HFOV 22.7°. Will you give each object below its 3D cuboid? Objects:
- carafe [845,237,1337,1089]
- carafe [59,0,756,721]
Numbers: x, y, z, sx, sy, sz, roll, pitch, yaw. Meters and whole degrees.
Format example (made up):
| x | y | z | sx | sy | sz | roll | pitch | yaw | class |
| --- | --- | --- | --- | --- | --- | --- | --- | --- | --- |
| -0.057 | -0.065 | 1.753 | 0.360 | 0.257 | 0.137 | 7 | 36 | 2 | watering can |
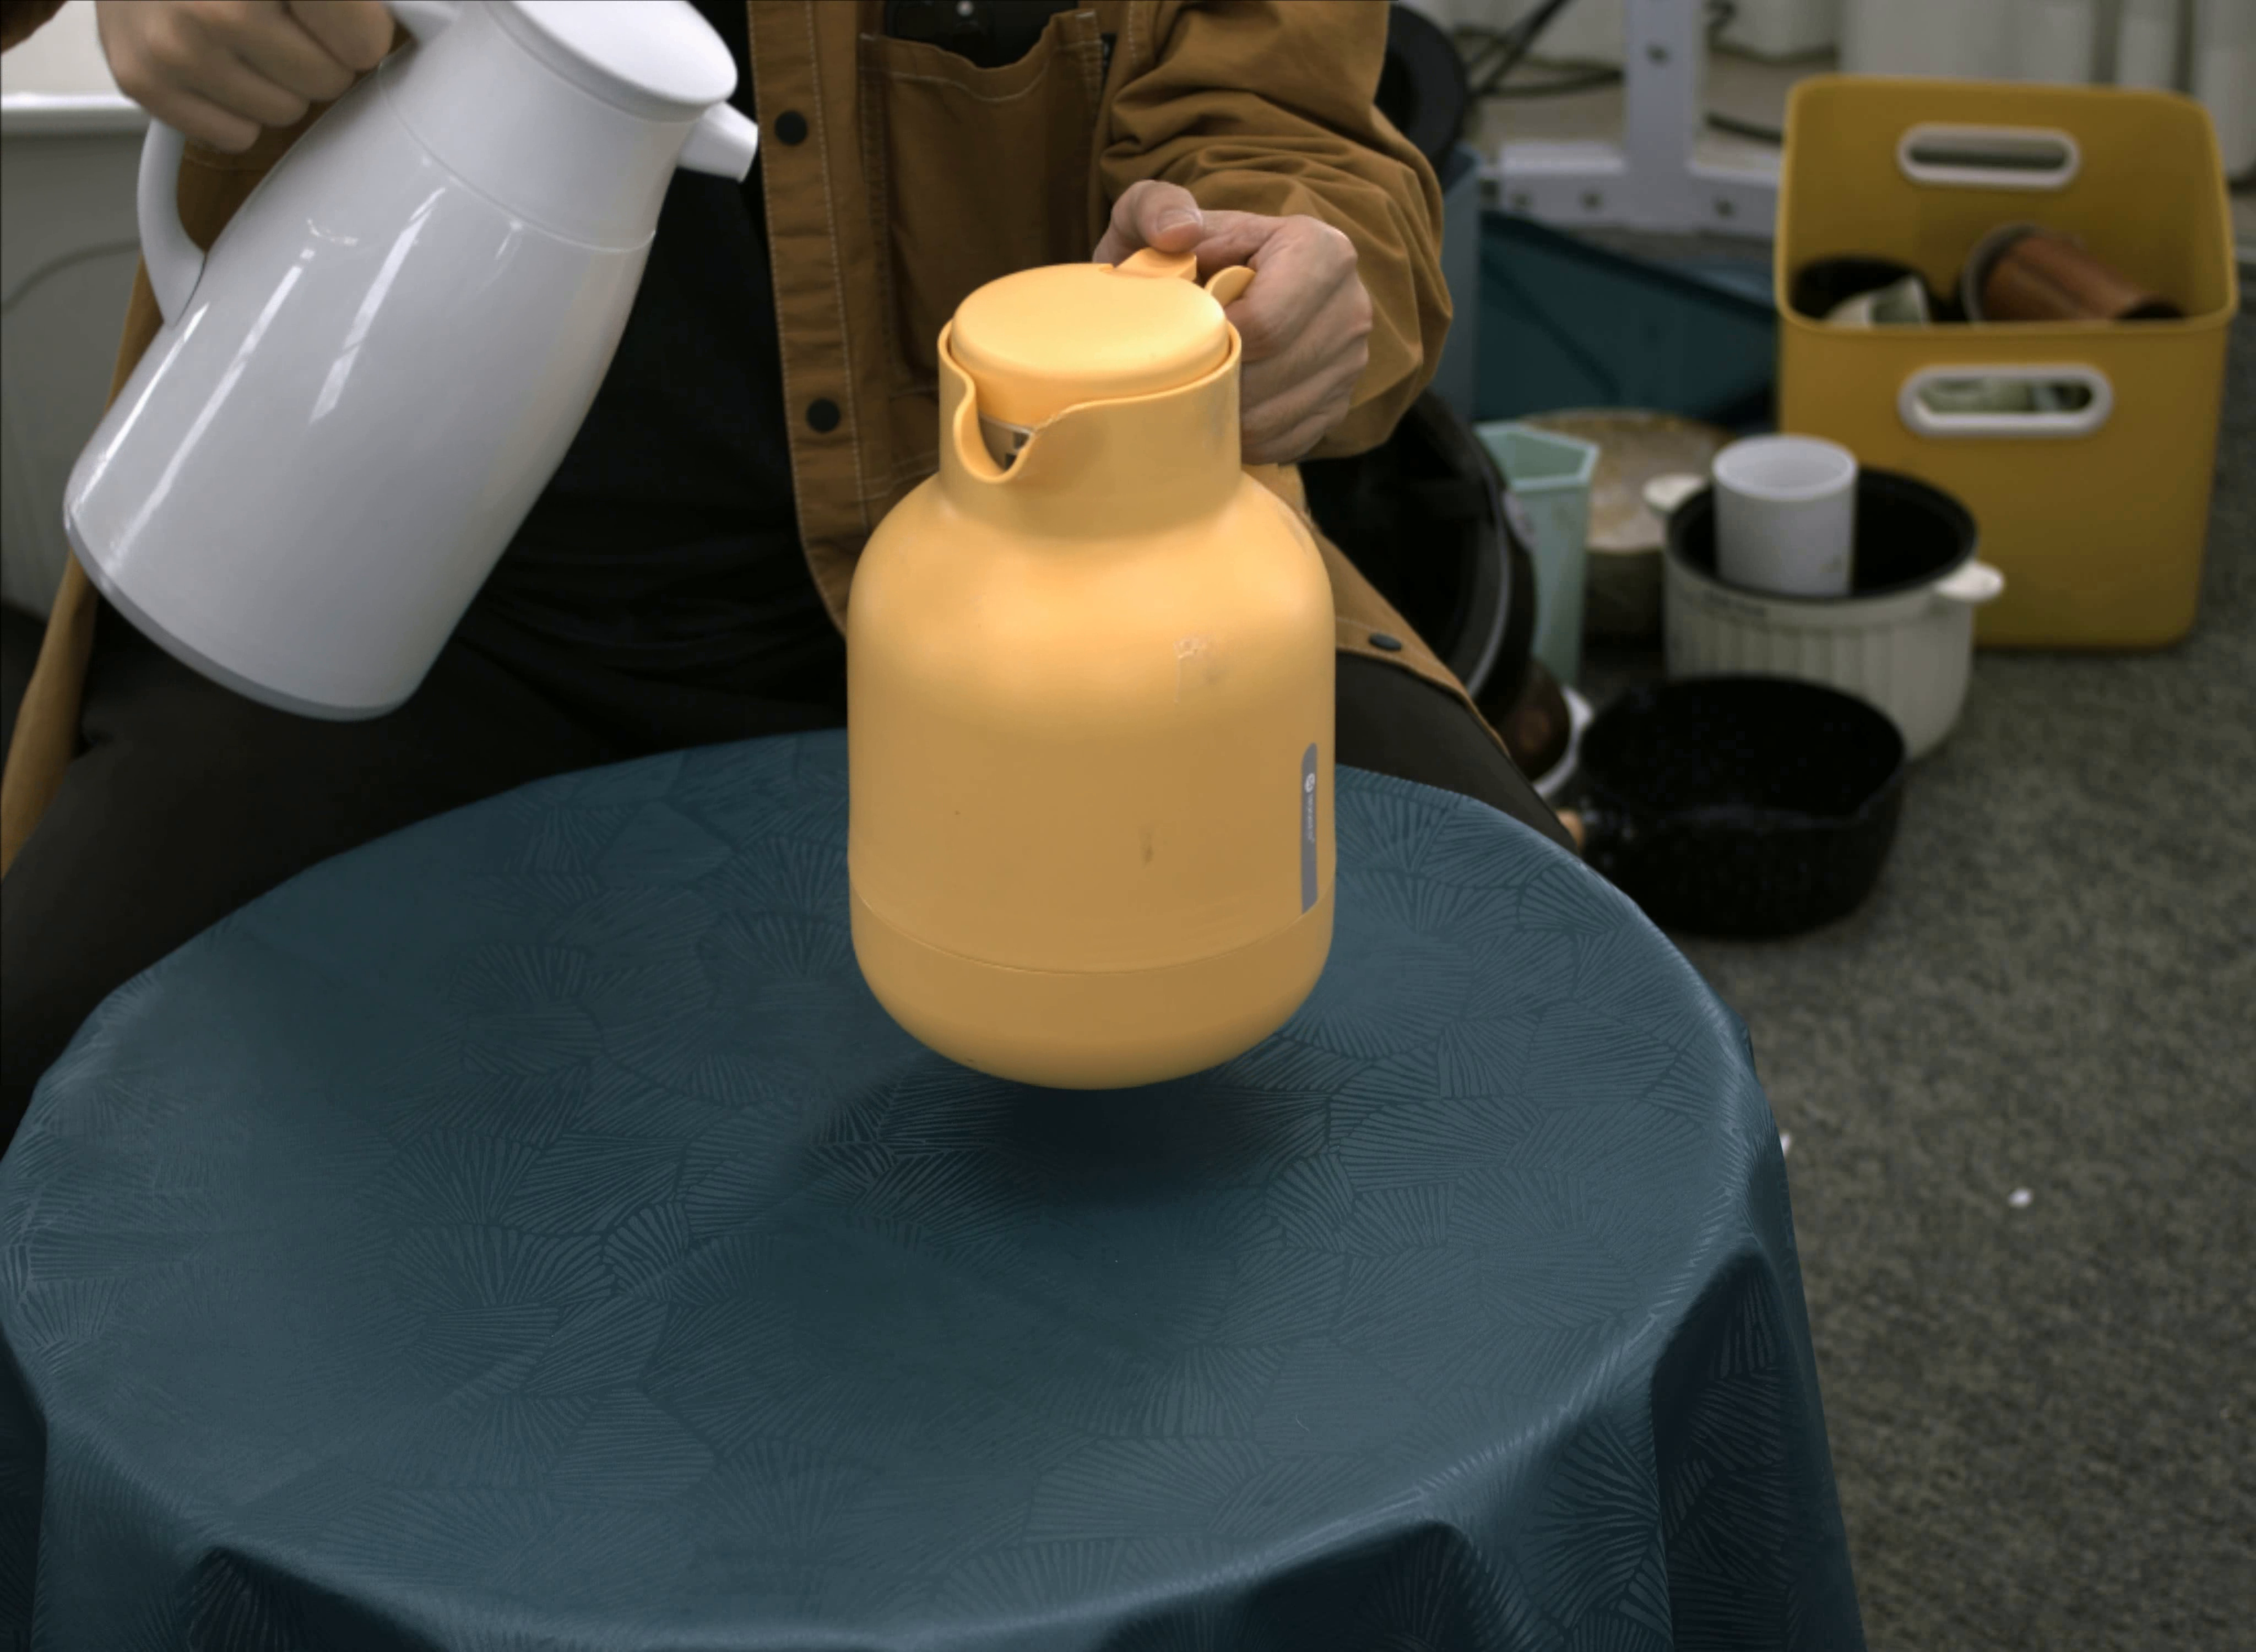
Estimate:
| x | y | z | sx | sy | sz | roll | pitch | yaw | class |
| --- | --- | --- | --- | --- | --- | --- | --- | --- | --- |
| -0.002 | -0.062 | 1.855 | 0.162 | 0.257 | 0.206 | 14 | 31 | 23 | carafe |
| -0.239 | -0.176 | 1.783 | 0.167 | 0.245 | 0.134 | 28 | 24 | -17 | carafe |
